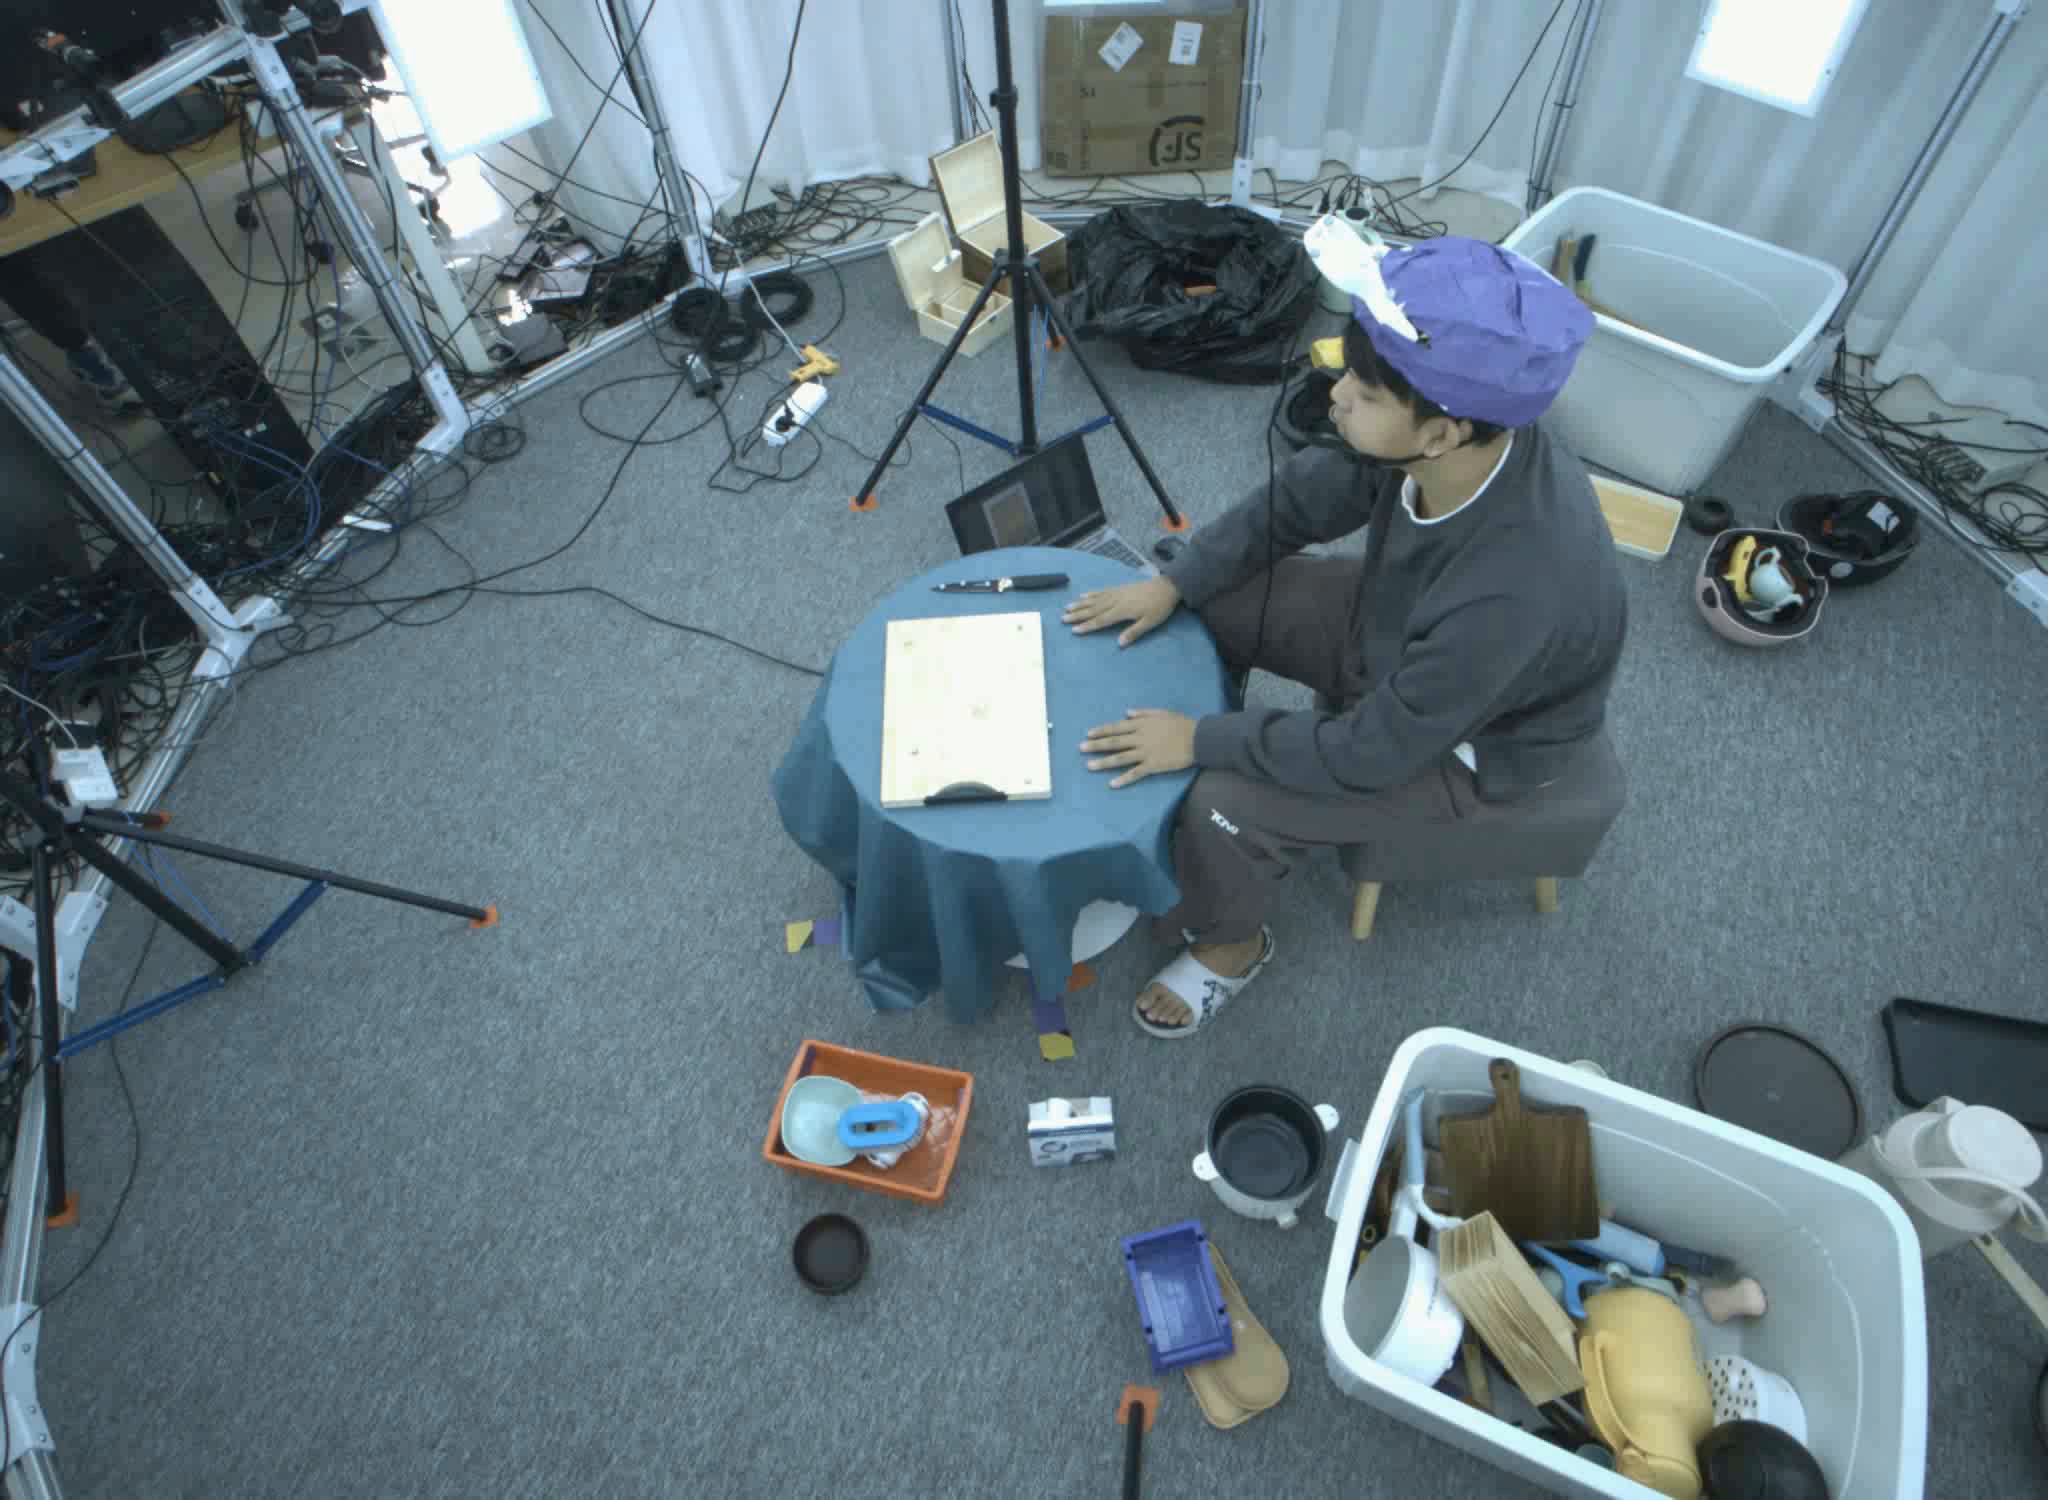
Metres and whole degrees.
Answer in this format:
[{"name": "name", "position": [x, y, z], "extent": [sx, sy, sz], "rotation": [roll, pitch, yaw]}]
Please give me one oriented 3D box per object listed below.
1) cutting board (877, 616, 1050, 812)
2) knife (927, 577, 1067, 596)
[{"name": "cutting board", "position": [-0.090, -0.063, 1.824], "extent": [0.251, 0.024, 0.344], "rotation": [-4, 55, -1]}, {"name": "knife", "position": [-0.045, -0.262, 1.968], "extent": [0.225, 0.017, 0.026], "rotation": [-3, 62, 0]}]
